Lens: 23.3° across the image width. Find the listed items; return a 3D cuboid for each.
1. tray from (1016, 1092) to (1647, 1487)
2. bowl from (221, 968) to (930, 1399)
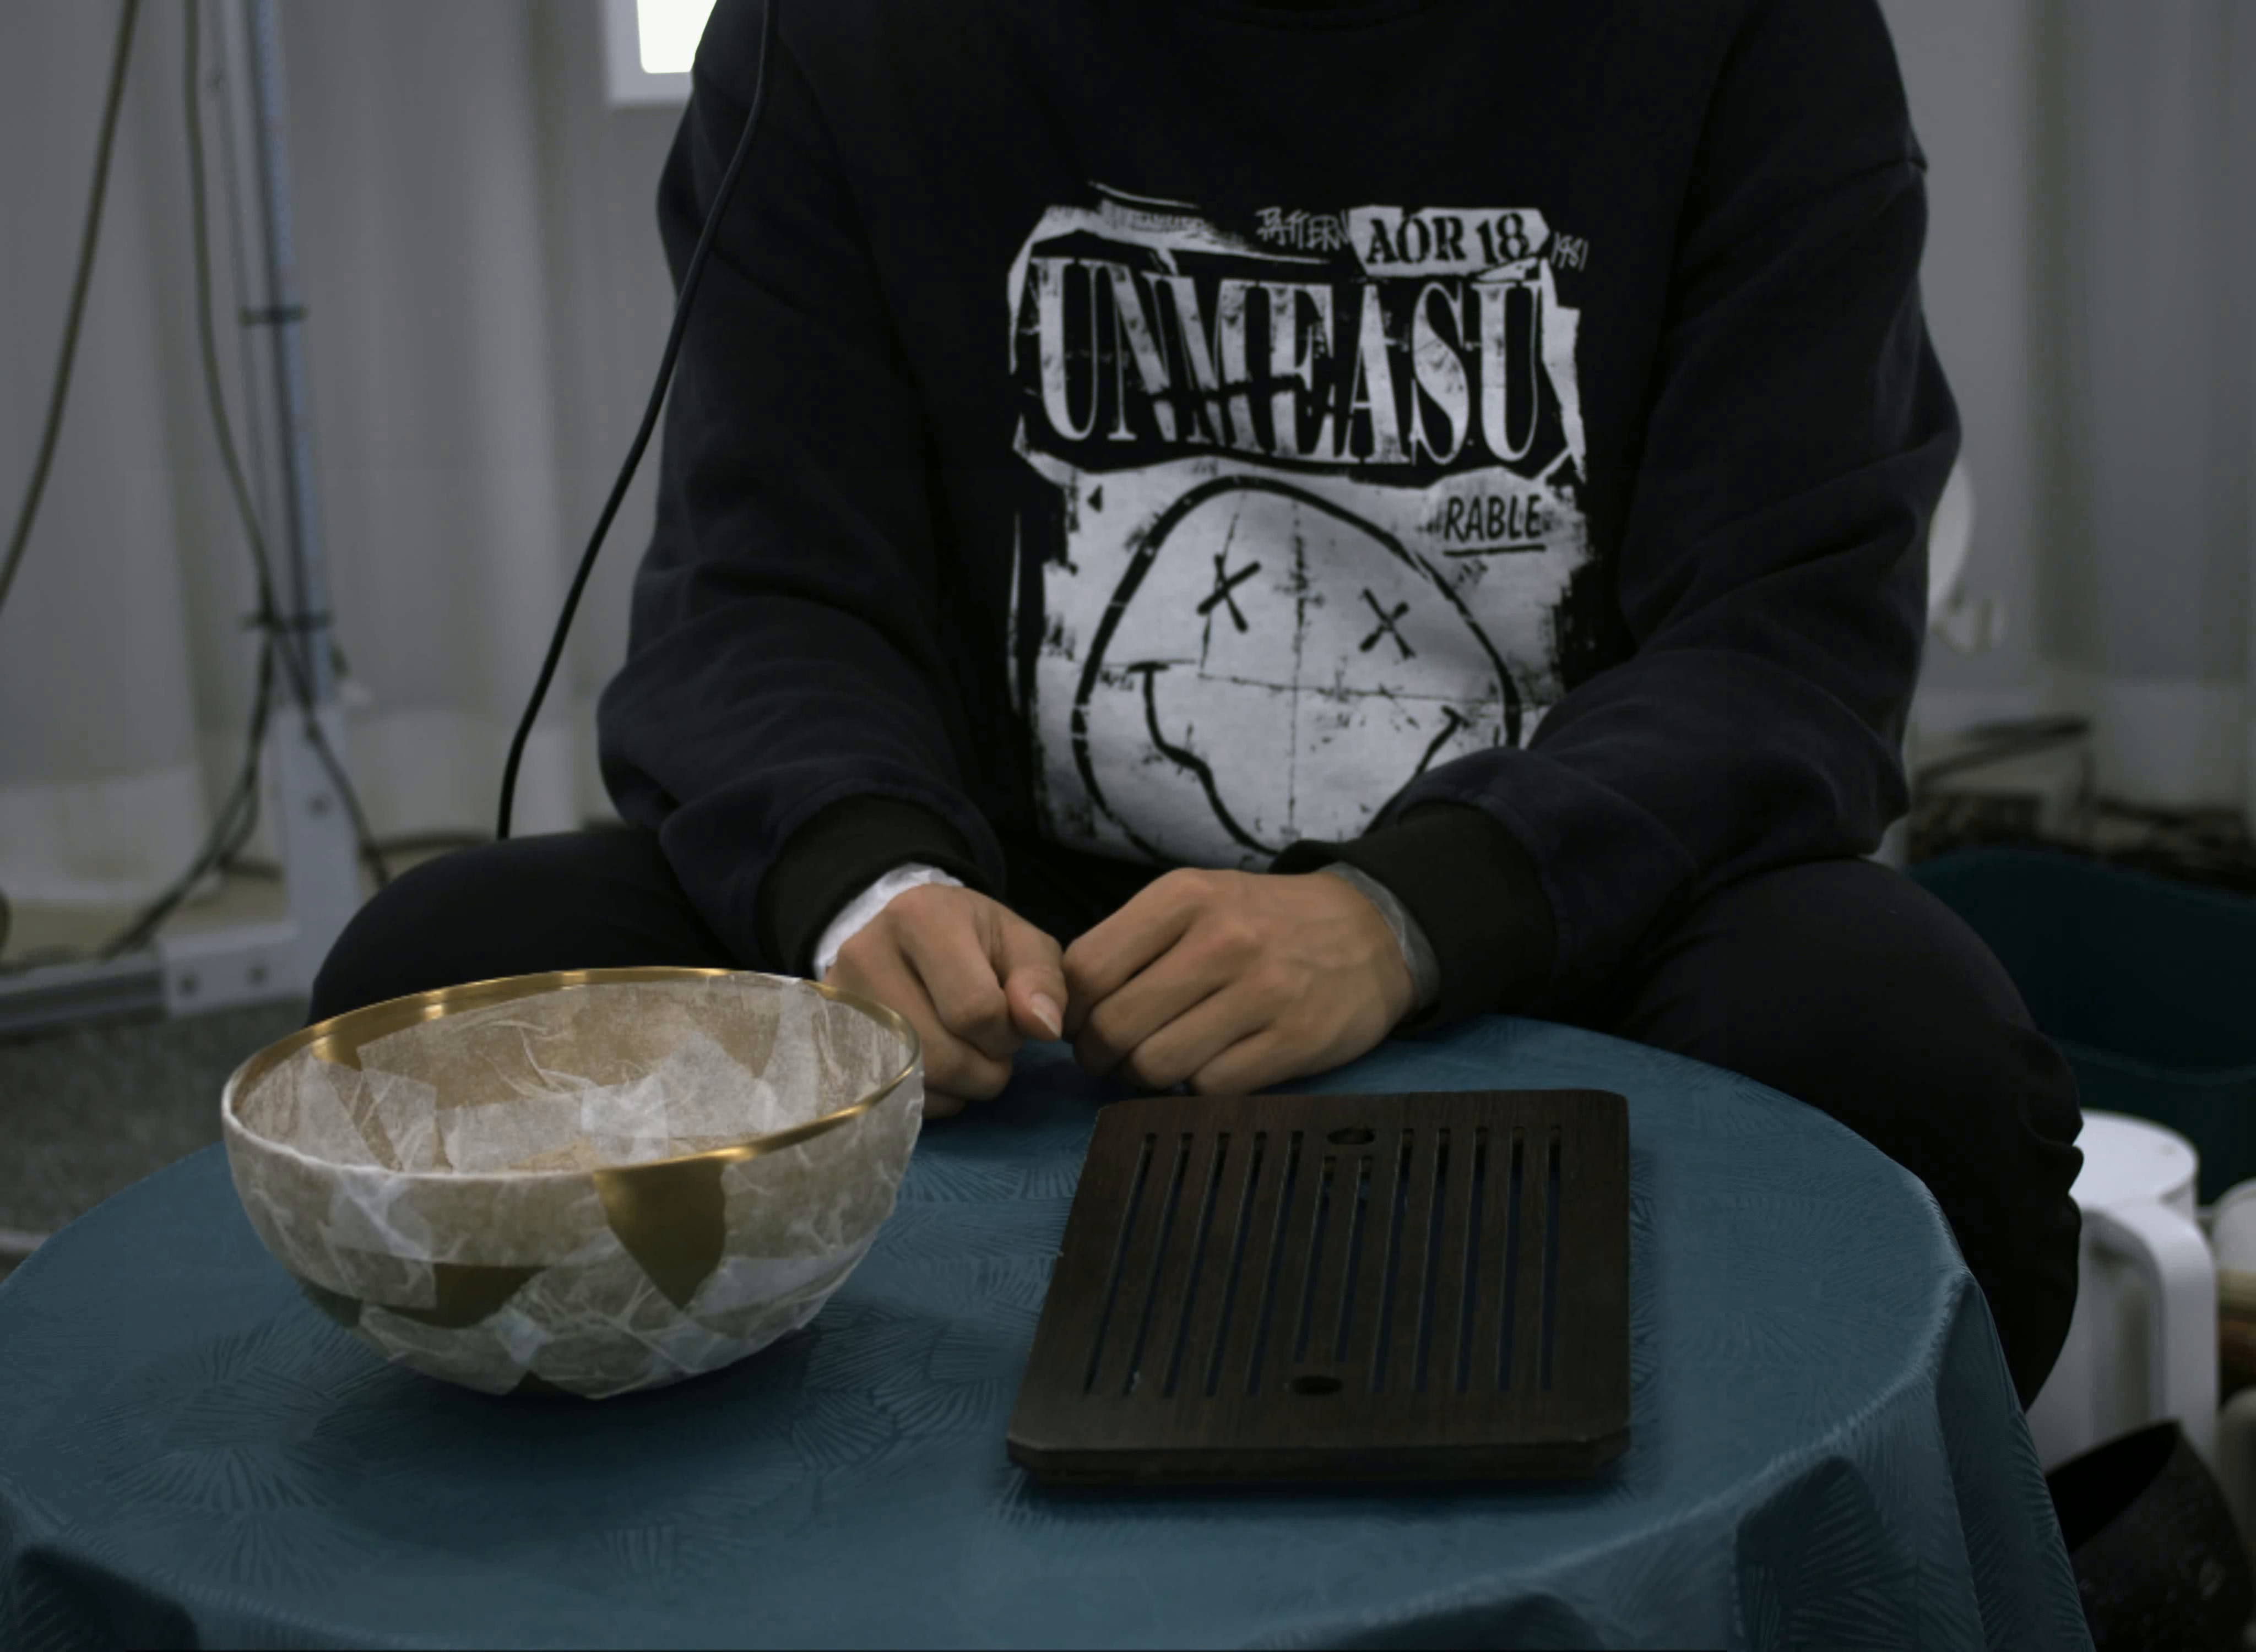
[{"bbox_3d":[0.066,0.133,1.599,0.170,0.018,0.308,-1,15,5],"label":"tray"},{"bbox_3d":[-0.153,0.110,1.582,0.214,0.094,0.216,-3,14,1],"label":"bowl"}]
